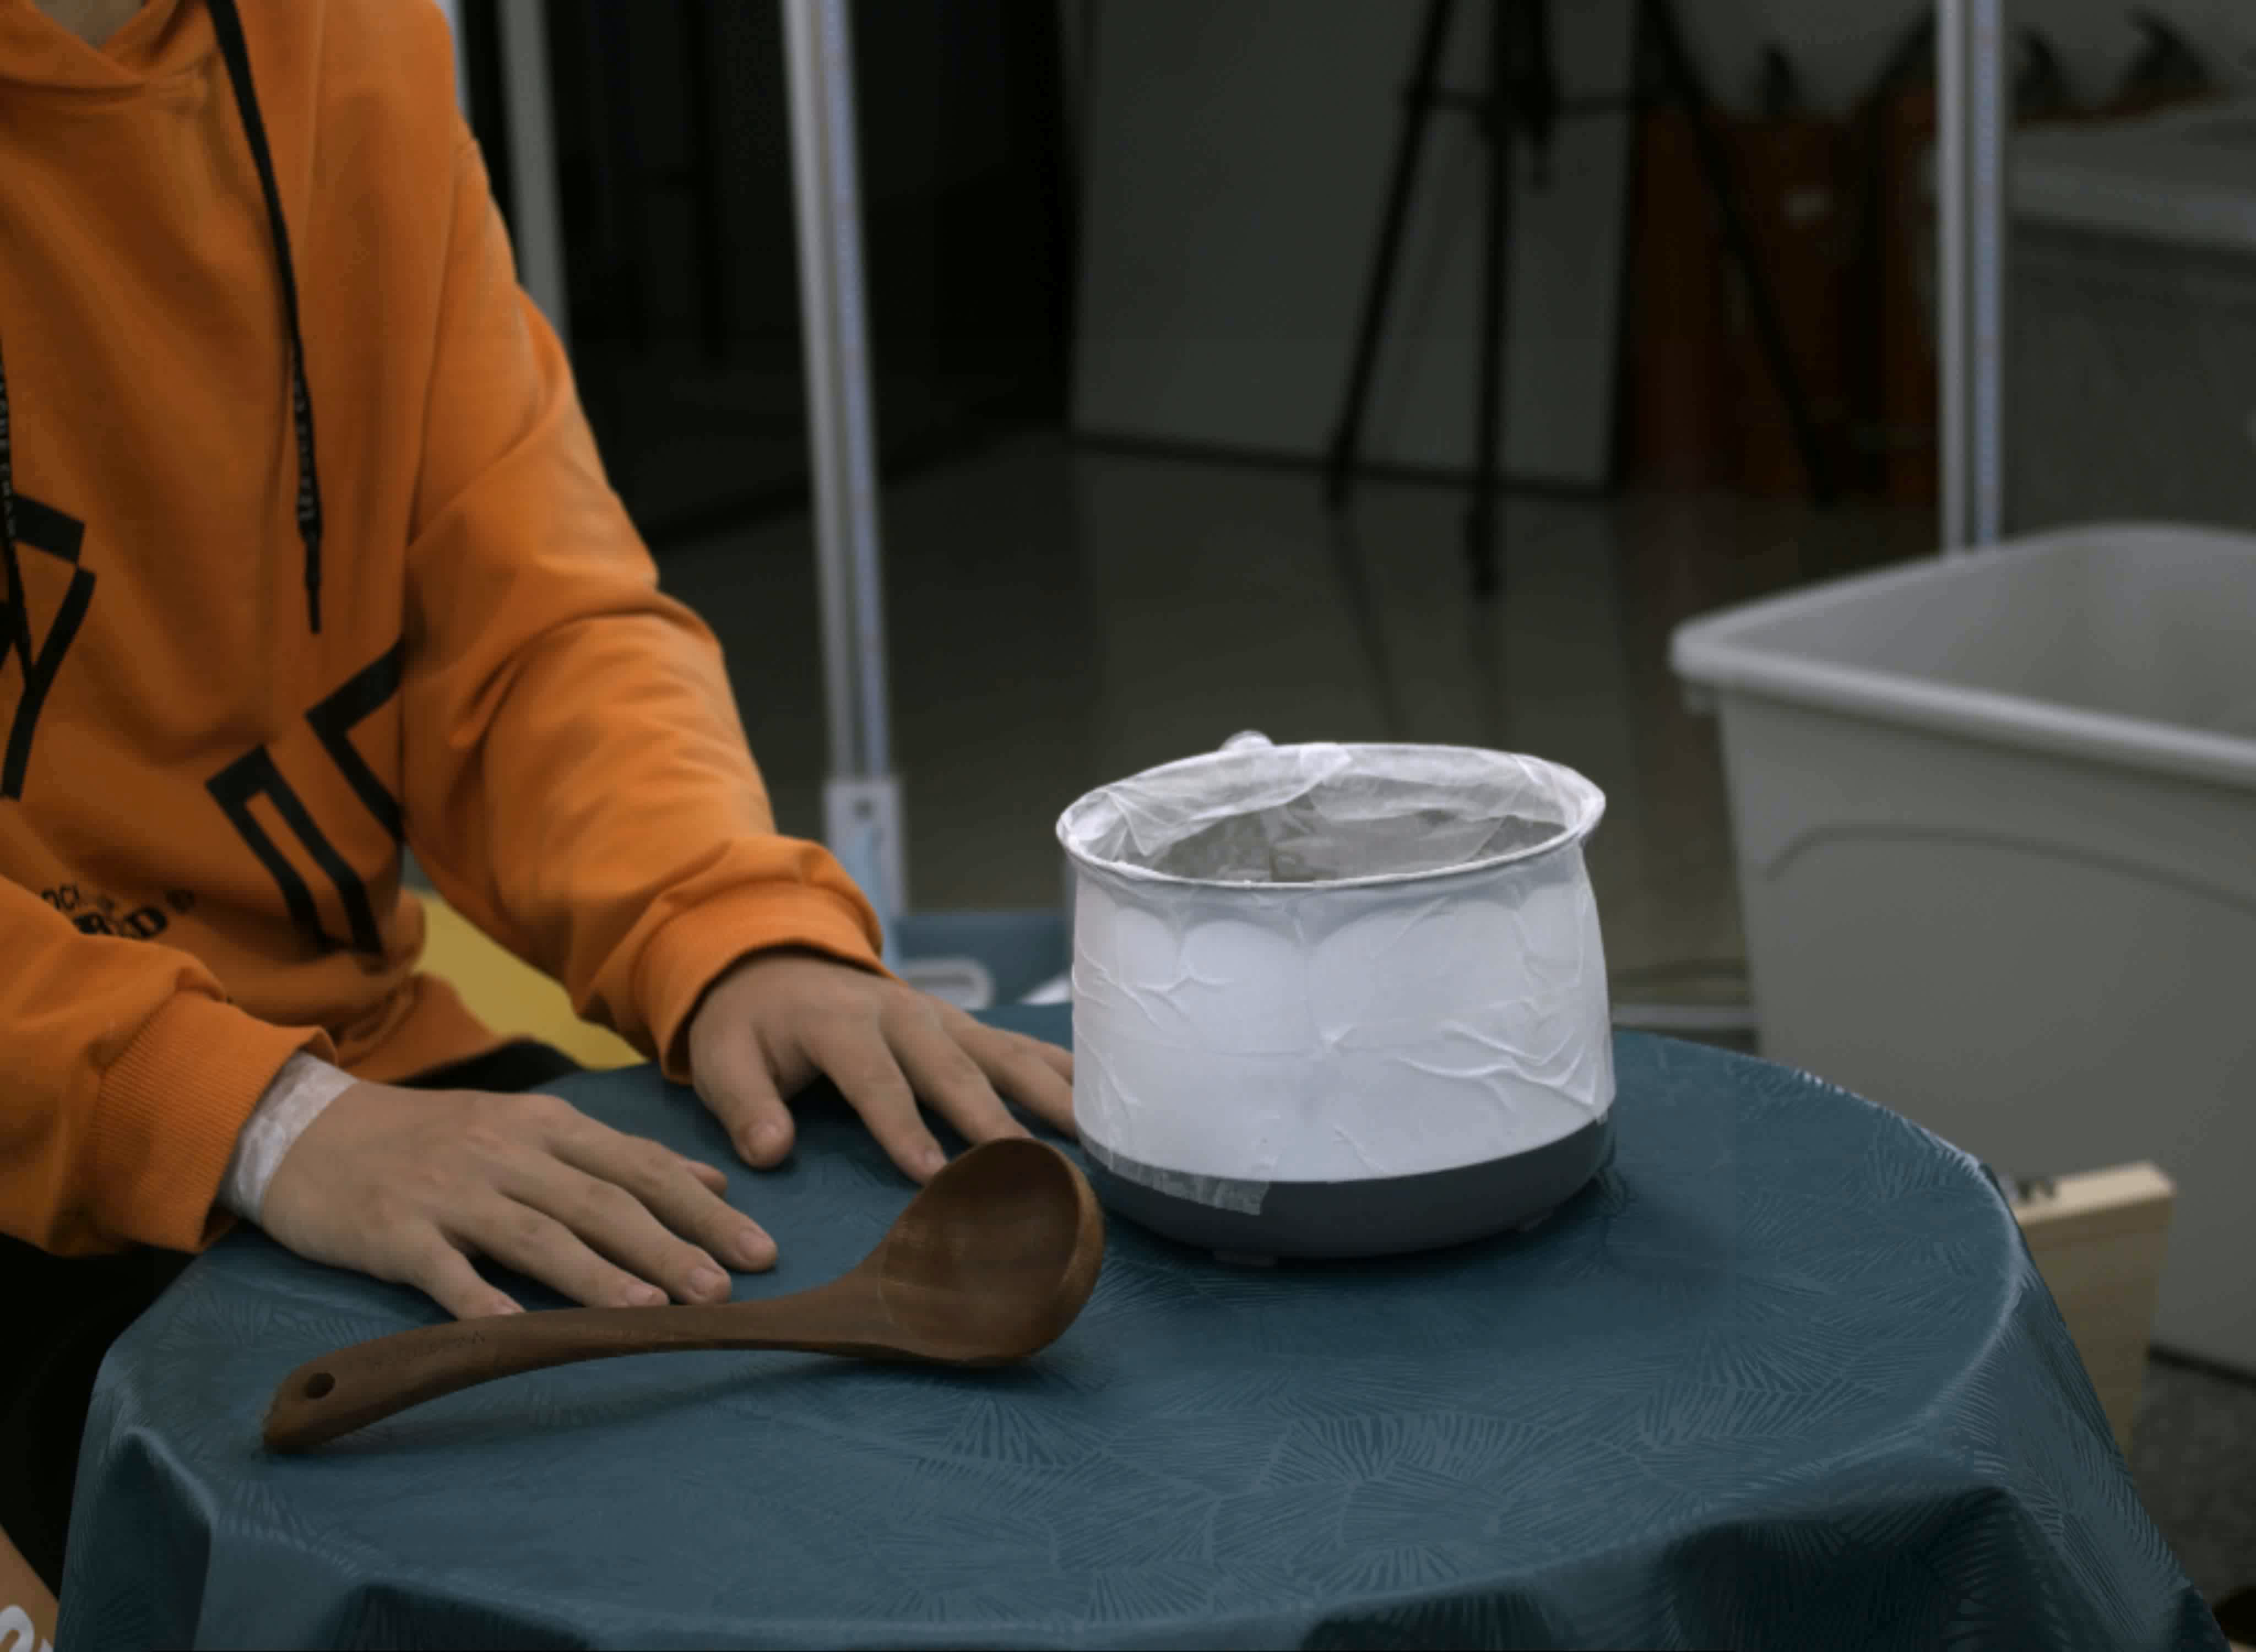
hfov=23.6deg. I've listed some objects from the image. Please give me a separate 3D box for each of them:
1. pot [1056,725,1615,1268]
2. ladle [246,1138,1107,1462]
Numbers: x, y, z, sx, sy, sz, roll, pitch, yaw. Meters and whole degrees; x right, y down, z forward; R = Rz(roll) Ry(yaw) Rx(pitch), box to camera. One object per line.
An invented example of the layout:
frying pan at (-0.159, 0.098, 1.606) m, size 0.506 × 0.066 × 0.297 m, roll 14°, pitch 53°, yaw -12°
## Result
pot at (0.061, 0.049, 1.756) m, size 0.175 × 0.138 × 0.235 m, roll -7°, pitch 14°, yaw -13°
ladle at (-0.132, 0.142, 1.598) m, size 0.255 × 0.065 × 0.077 m, roll -7°, pitch 39°, yaw -13°
